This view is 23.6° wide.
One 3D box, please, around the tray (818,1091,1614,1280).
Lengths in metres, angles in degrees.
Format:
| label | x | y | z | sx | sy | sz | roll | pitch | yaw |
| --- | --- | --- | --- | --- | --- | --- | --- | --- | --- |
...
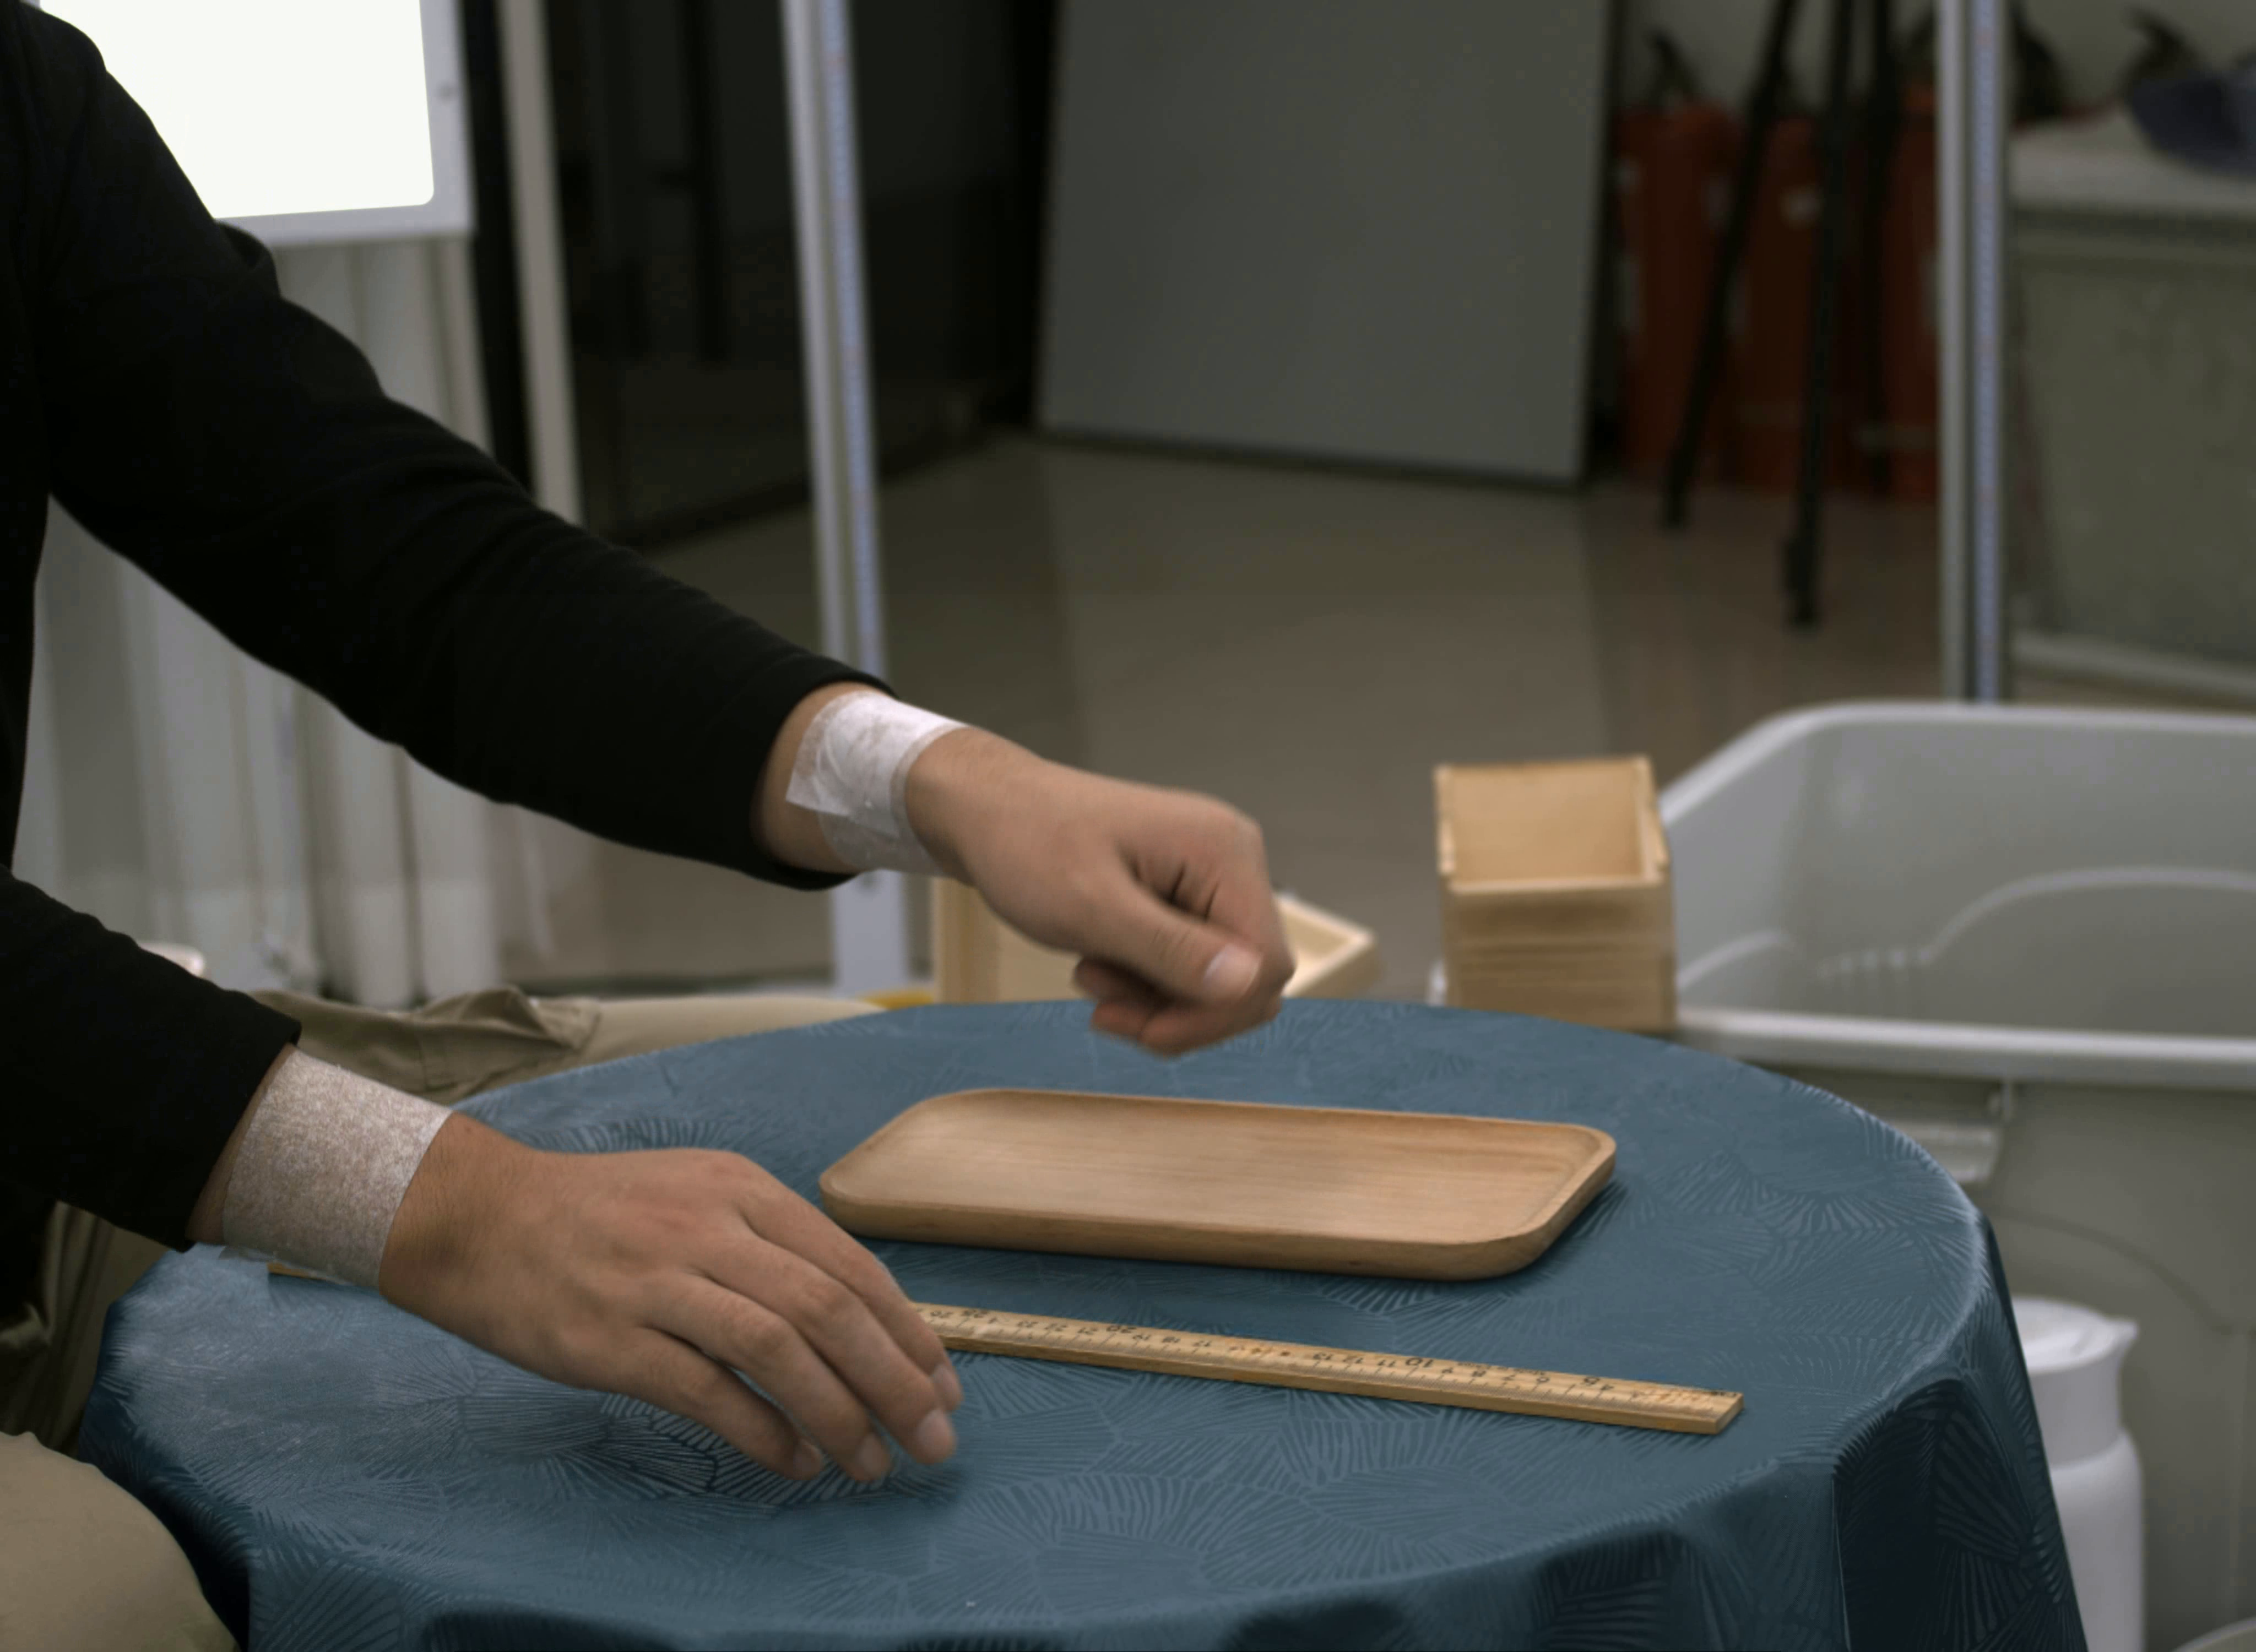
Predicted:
| label | x | y | z | sx | sy | sz | roll | pitch | yaw |
| --- | --- | --- | --- | --- | --- | --- | --- | --- | --- |
| tray | 0.029 | 0.116 | 1.750 | 0.251 | 0.023 | 0.129 | 1 | 12 | 25 |

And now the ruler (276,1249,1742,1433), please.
| label | x | y | z | sx | sy | sz | roll | pitch | yaw |
| --- | --- | --- | --- | --- | --- | --- | --- | --- | --- |
| ruler | -0.049 | 0.154 | 1.641 | 0.502 | 0.006 | 0.026 | 3 | 14 | 28 |
